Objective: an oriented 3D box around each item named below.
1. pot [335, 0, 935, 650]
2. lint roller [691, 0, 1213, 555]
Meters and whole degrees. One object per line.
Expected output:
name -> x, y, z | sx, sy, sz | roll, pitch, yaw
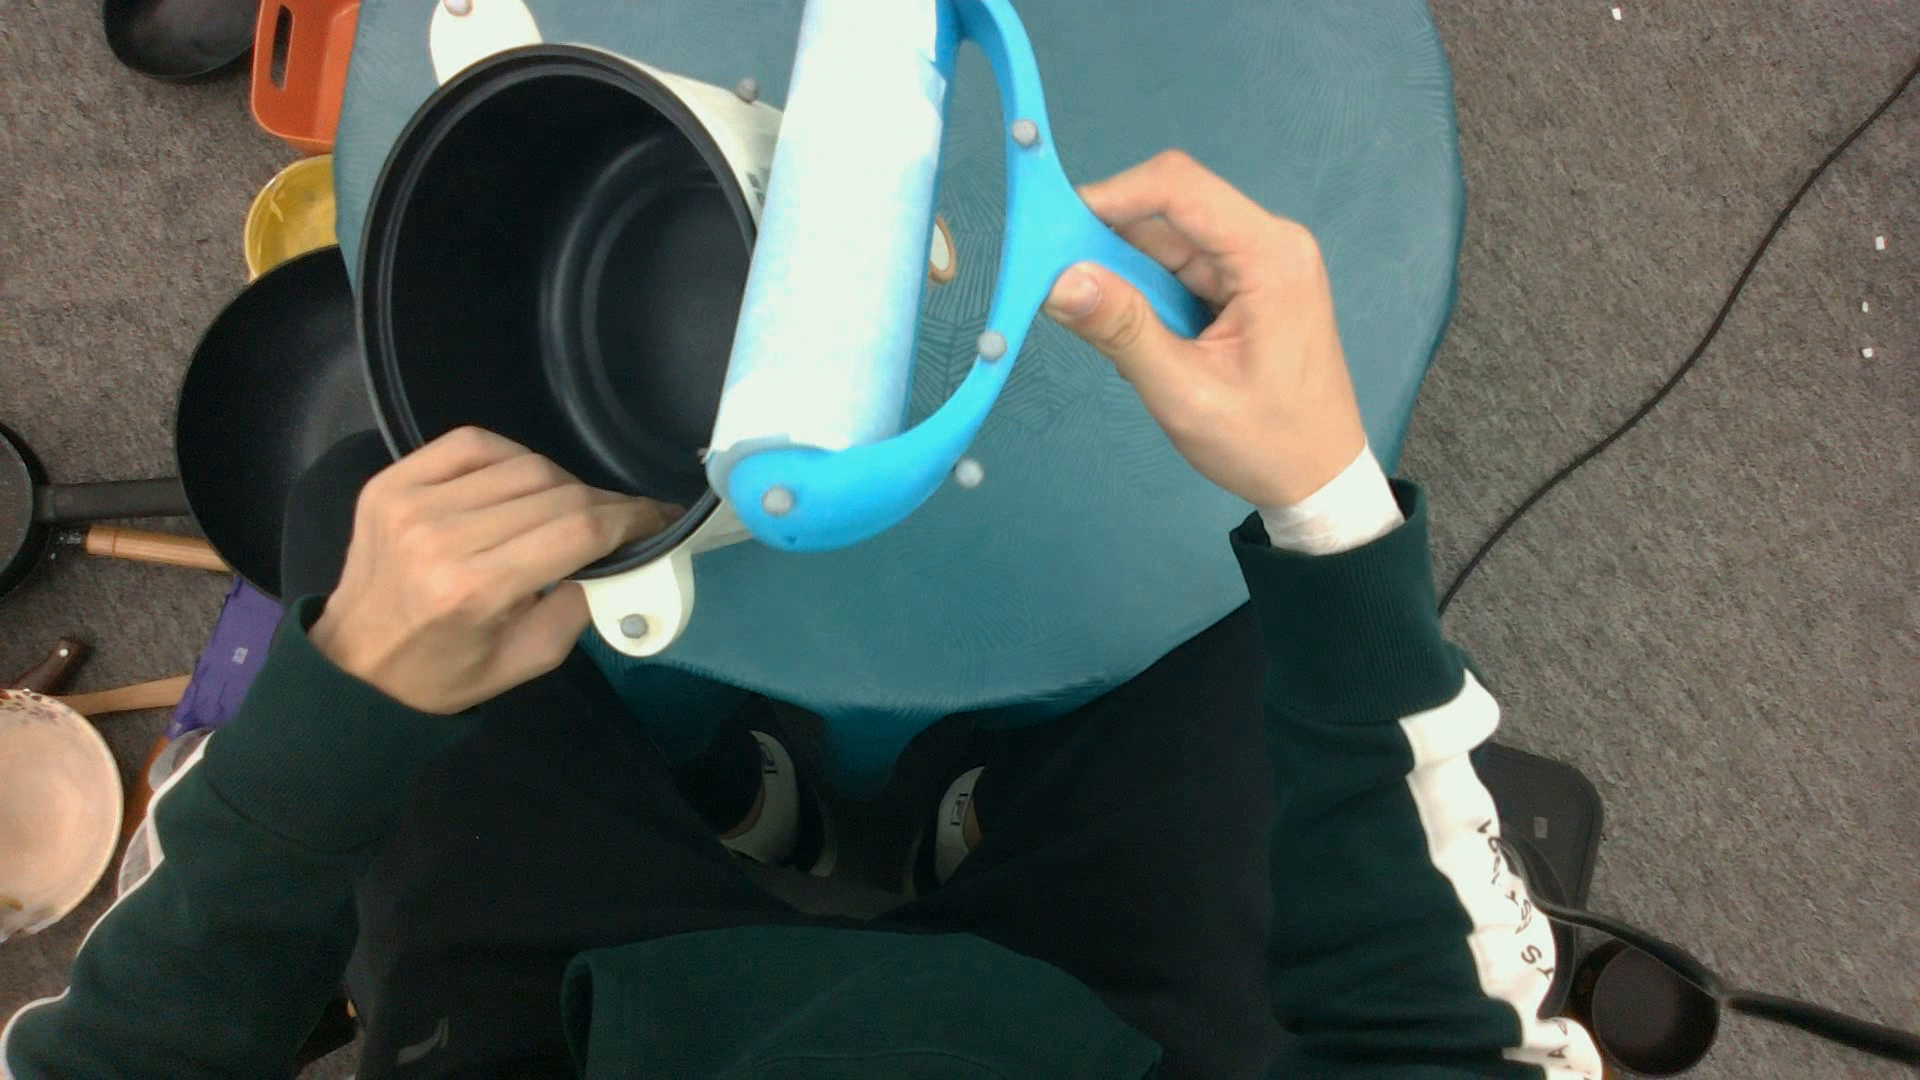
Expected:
pot -> -0.116, -0.088, 0.530 | 0.190, 0.143, 0.240 | -17, 91, 30
lint roller -> 0.013, -0.088, 0.448 | 0.180, 0.067, 0.230 | 9, 57, -16
